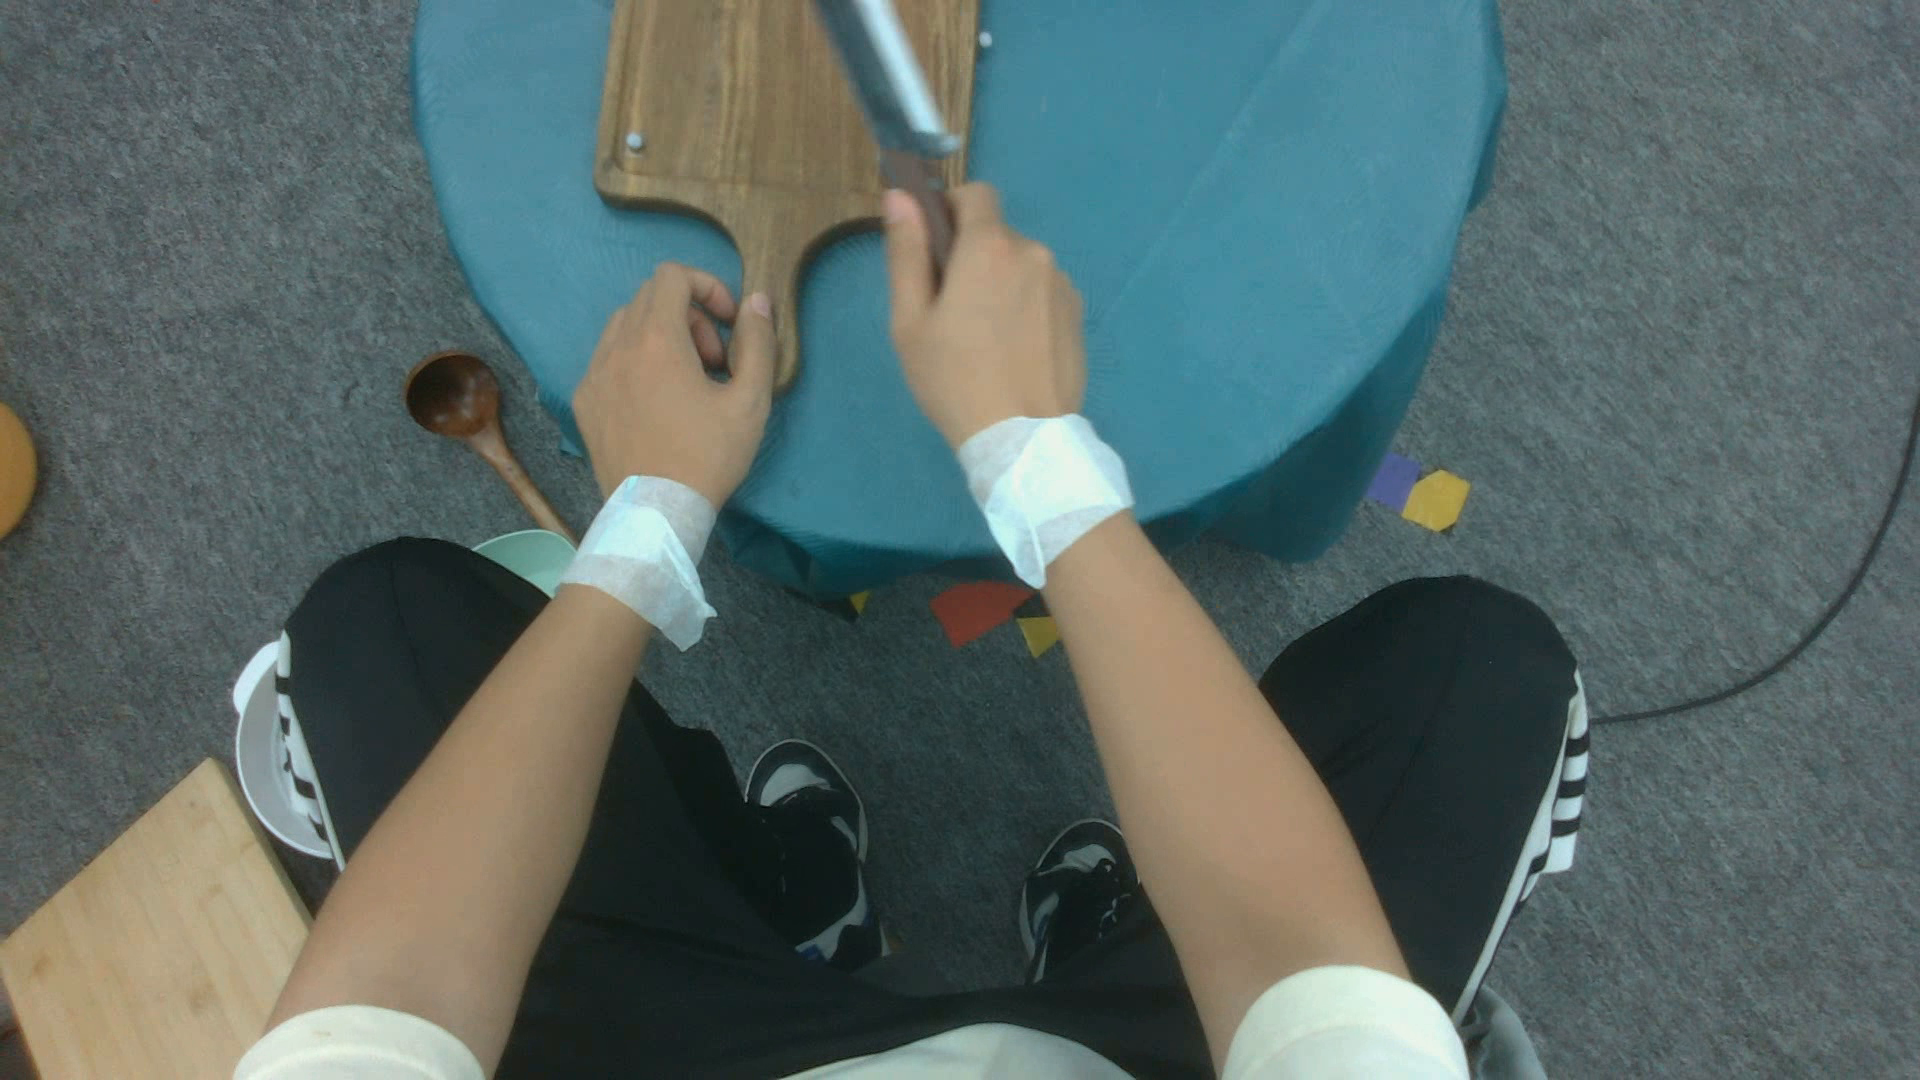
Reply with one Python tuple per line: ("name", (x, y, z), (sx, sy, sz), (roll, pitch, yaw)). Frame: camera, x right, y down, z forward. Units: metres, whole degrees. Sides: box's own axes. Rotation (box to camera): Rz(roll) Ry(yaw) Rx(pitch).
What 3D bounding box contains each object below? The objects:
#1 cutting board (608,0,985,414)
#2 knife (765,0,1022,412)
("cutting board", (-0.090, -0.242, 0.766), (0.201, 0.023, 0.352), (4, 80, 1))
("knife", (-0.040, -0.198, 0.669), (0.024, 0.068, 0.299), (-29, 89, 31))
